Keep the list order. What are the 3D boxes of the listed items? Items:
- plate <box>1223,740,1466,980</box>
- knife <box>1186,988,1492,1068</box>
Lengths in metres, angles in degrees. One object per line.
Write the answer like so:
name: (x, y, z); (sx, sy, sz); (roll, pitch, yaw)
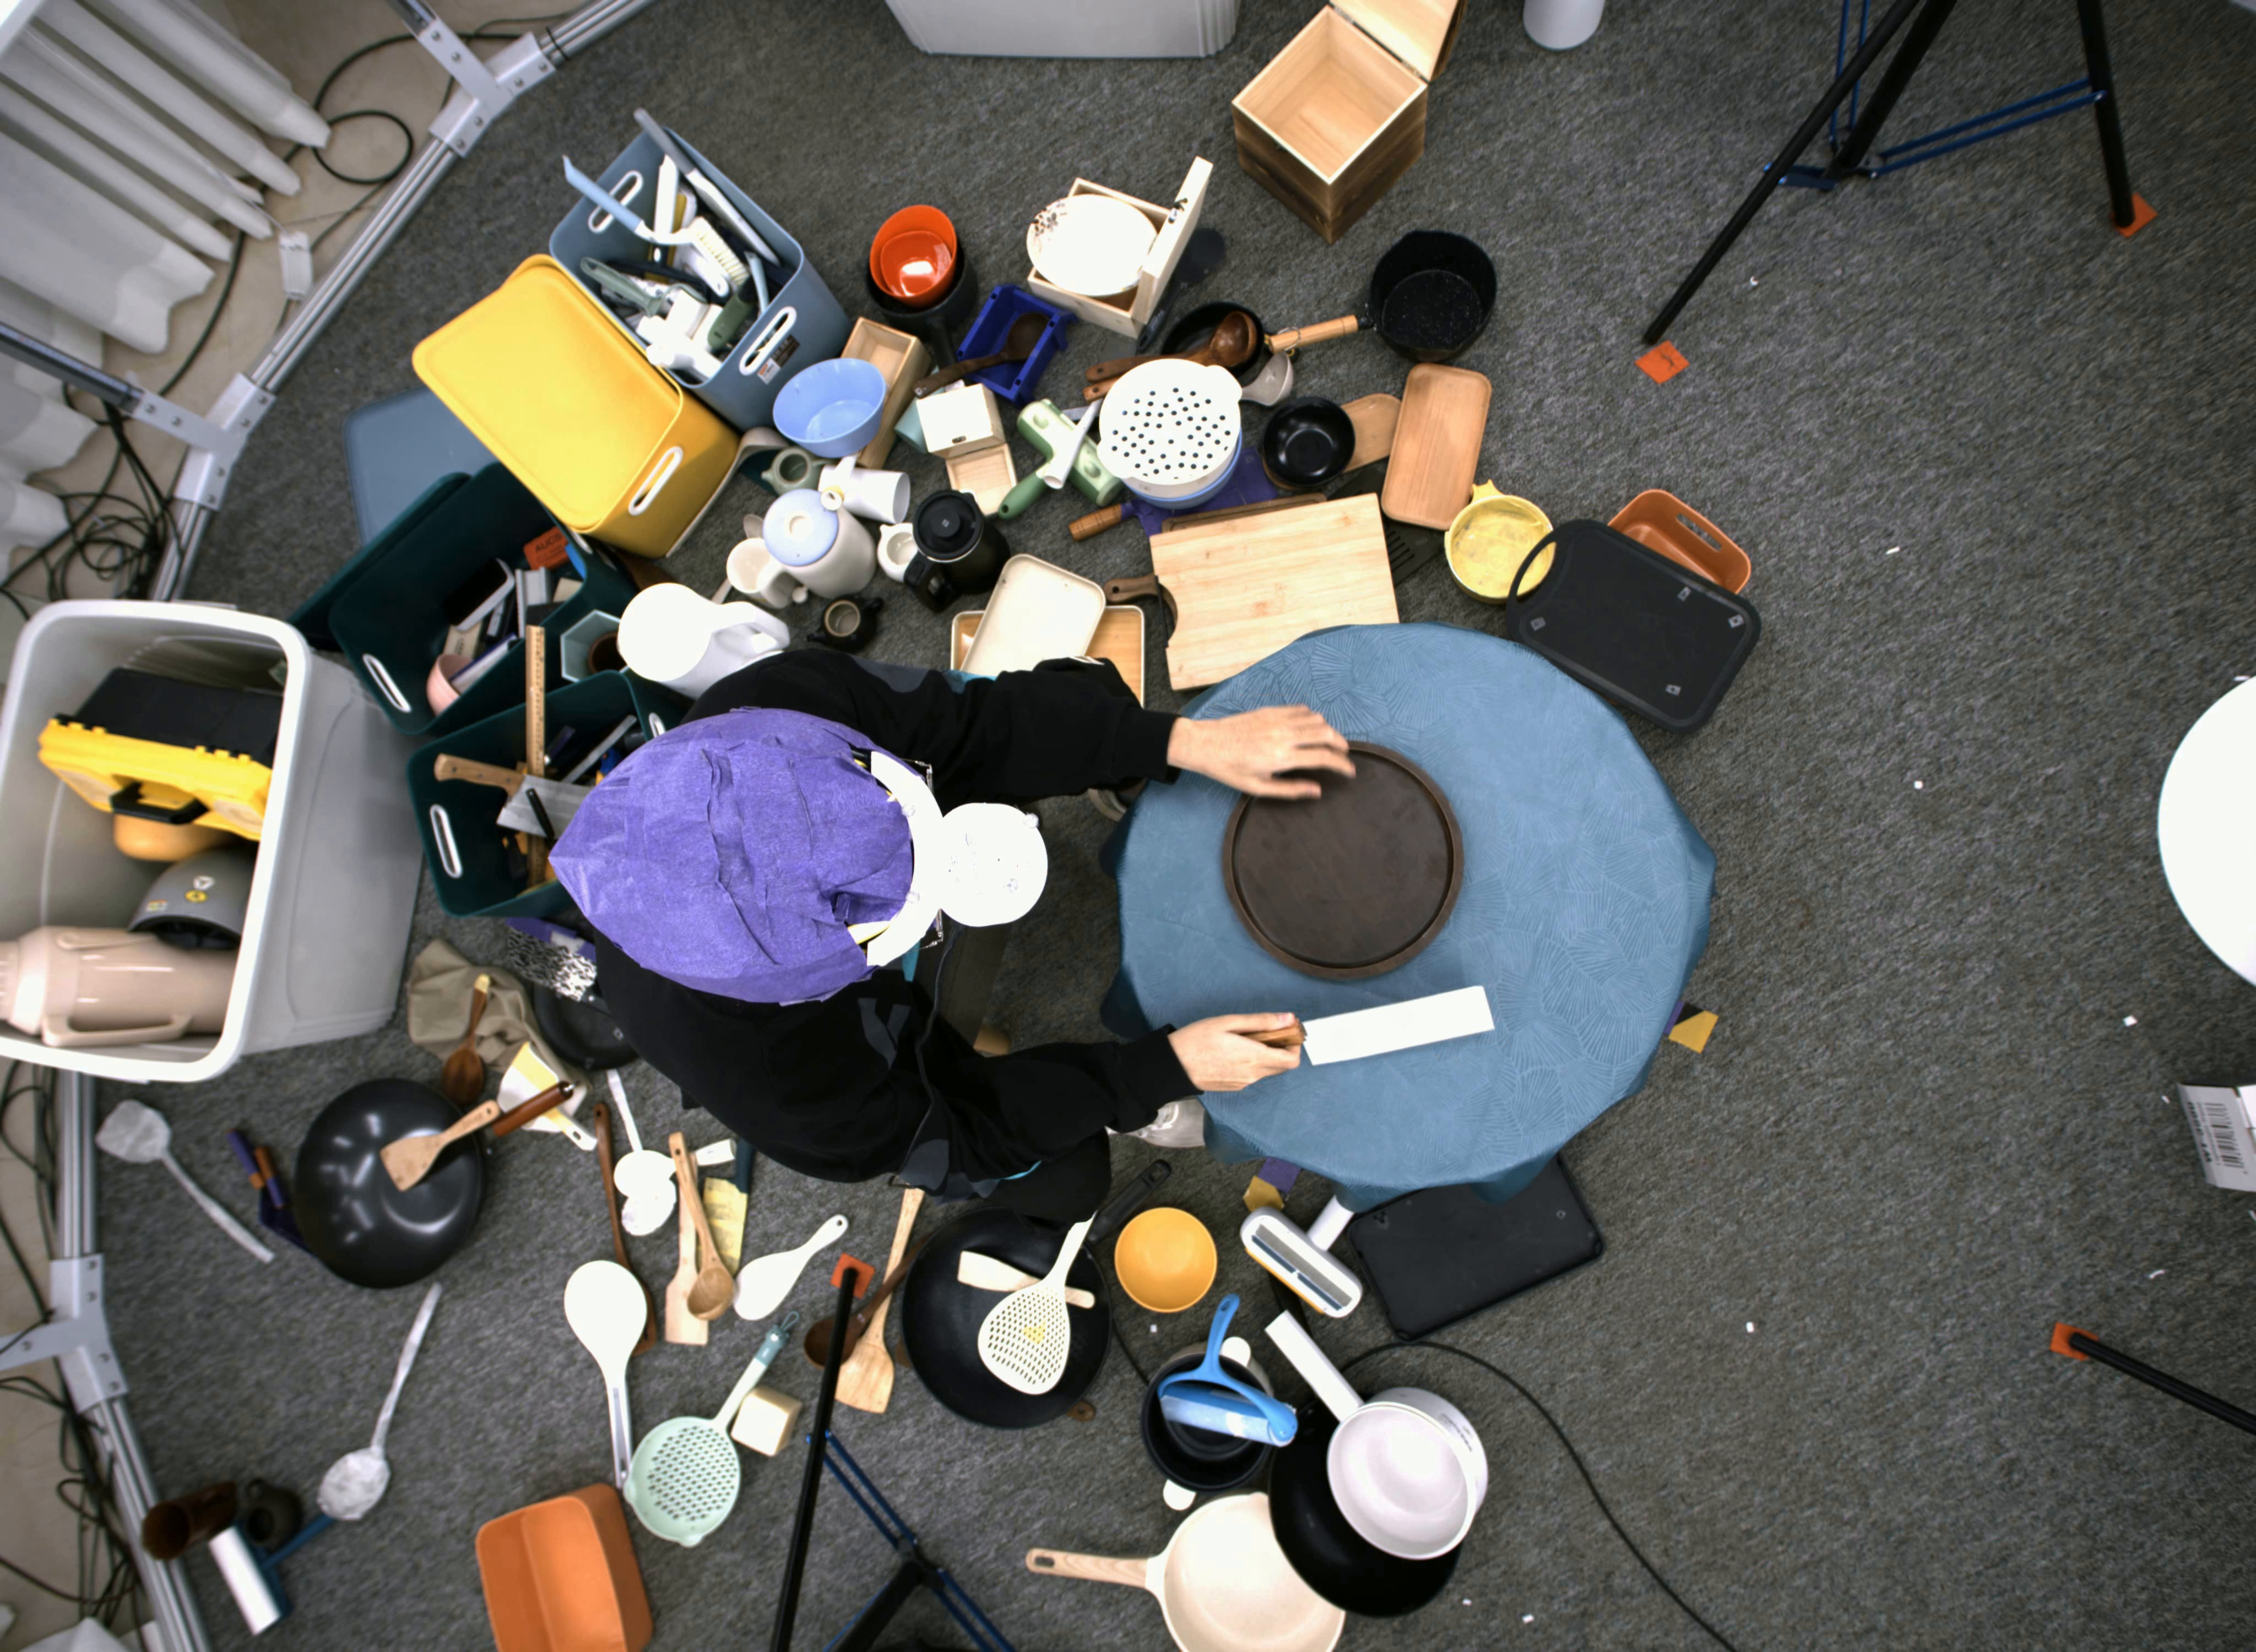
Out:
plate: (0.227, 0.034, 1.457); (0.256, 0.029, 0.254); (-1, 88, 9)
knife: (0.215, 0.214, 1.408); (0.308, 0.094, 0.020); (-14, 51, 15)
